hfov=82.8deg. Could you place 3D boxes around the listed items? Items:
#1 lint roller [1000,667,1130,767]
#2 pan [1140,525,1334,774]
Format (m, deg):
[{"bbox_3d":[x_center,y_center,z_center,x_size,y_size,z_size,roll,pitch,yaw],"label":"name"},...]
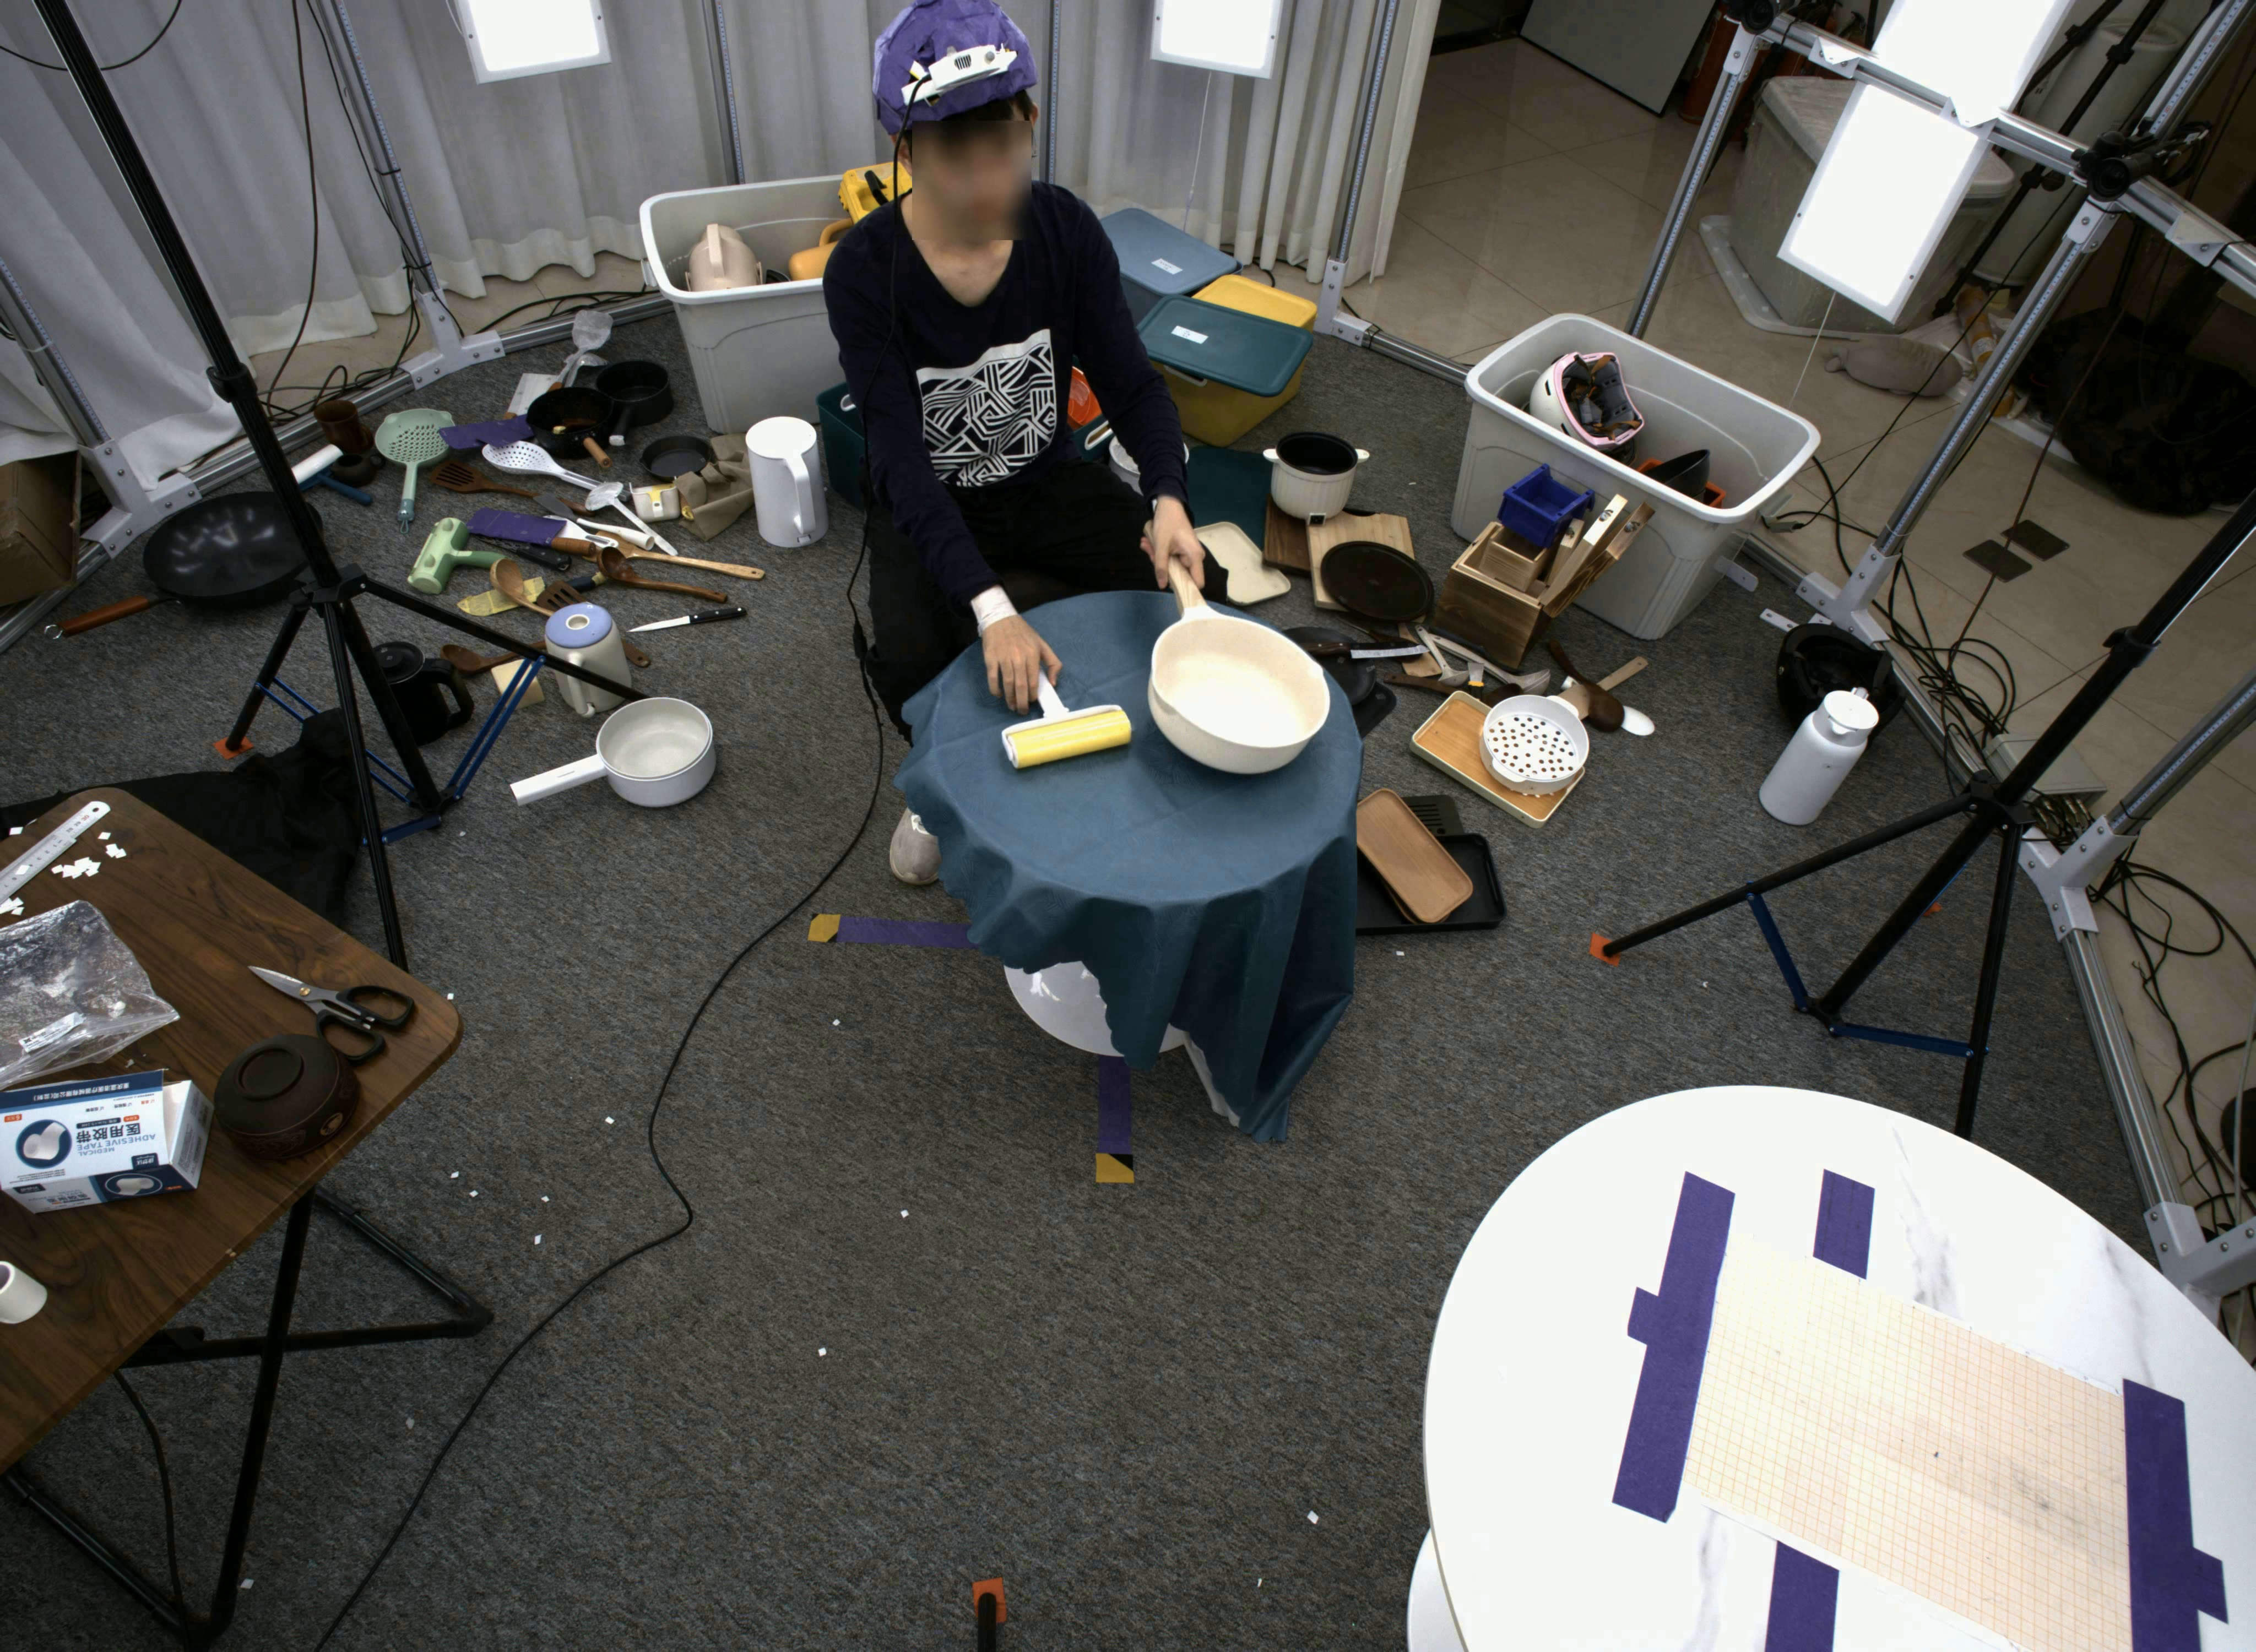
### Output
[{"bbox_3d":[-0.107,-0.170,1.777,0.174,0.050,0.196,-14,51,-16],"label":"lint roller"},{"bbox_3d":[0.113,-0.247,1.802,0.263,0.099,0.444,-13,54,-23],"label":"pan"}]
